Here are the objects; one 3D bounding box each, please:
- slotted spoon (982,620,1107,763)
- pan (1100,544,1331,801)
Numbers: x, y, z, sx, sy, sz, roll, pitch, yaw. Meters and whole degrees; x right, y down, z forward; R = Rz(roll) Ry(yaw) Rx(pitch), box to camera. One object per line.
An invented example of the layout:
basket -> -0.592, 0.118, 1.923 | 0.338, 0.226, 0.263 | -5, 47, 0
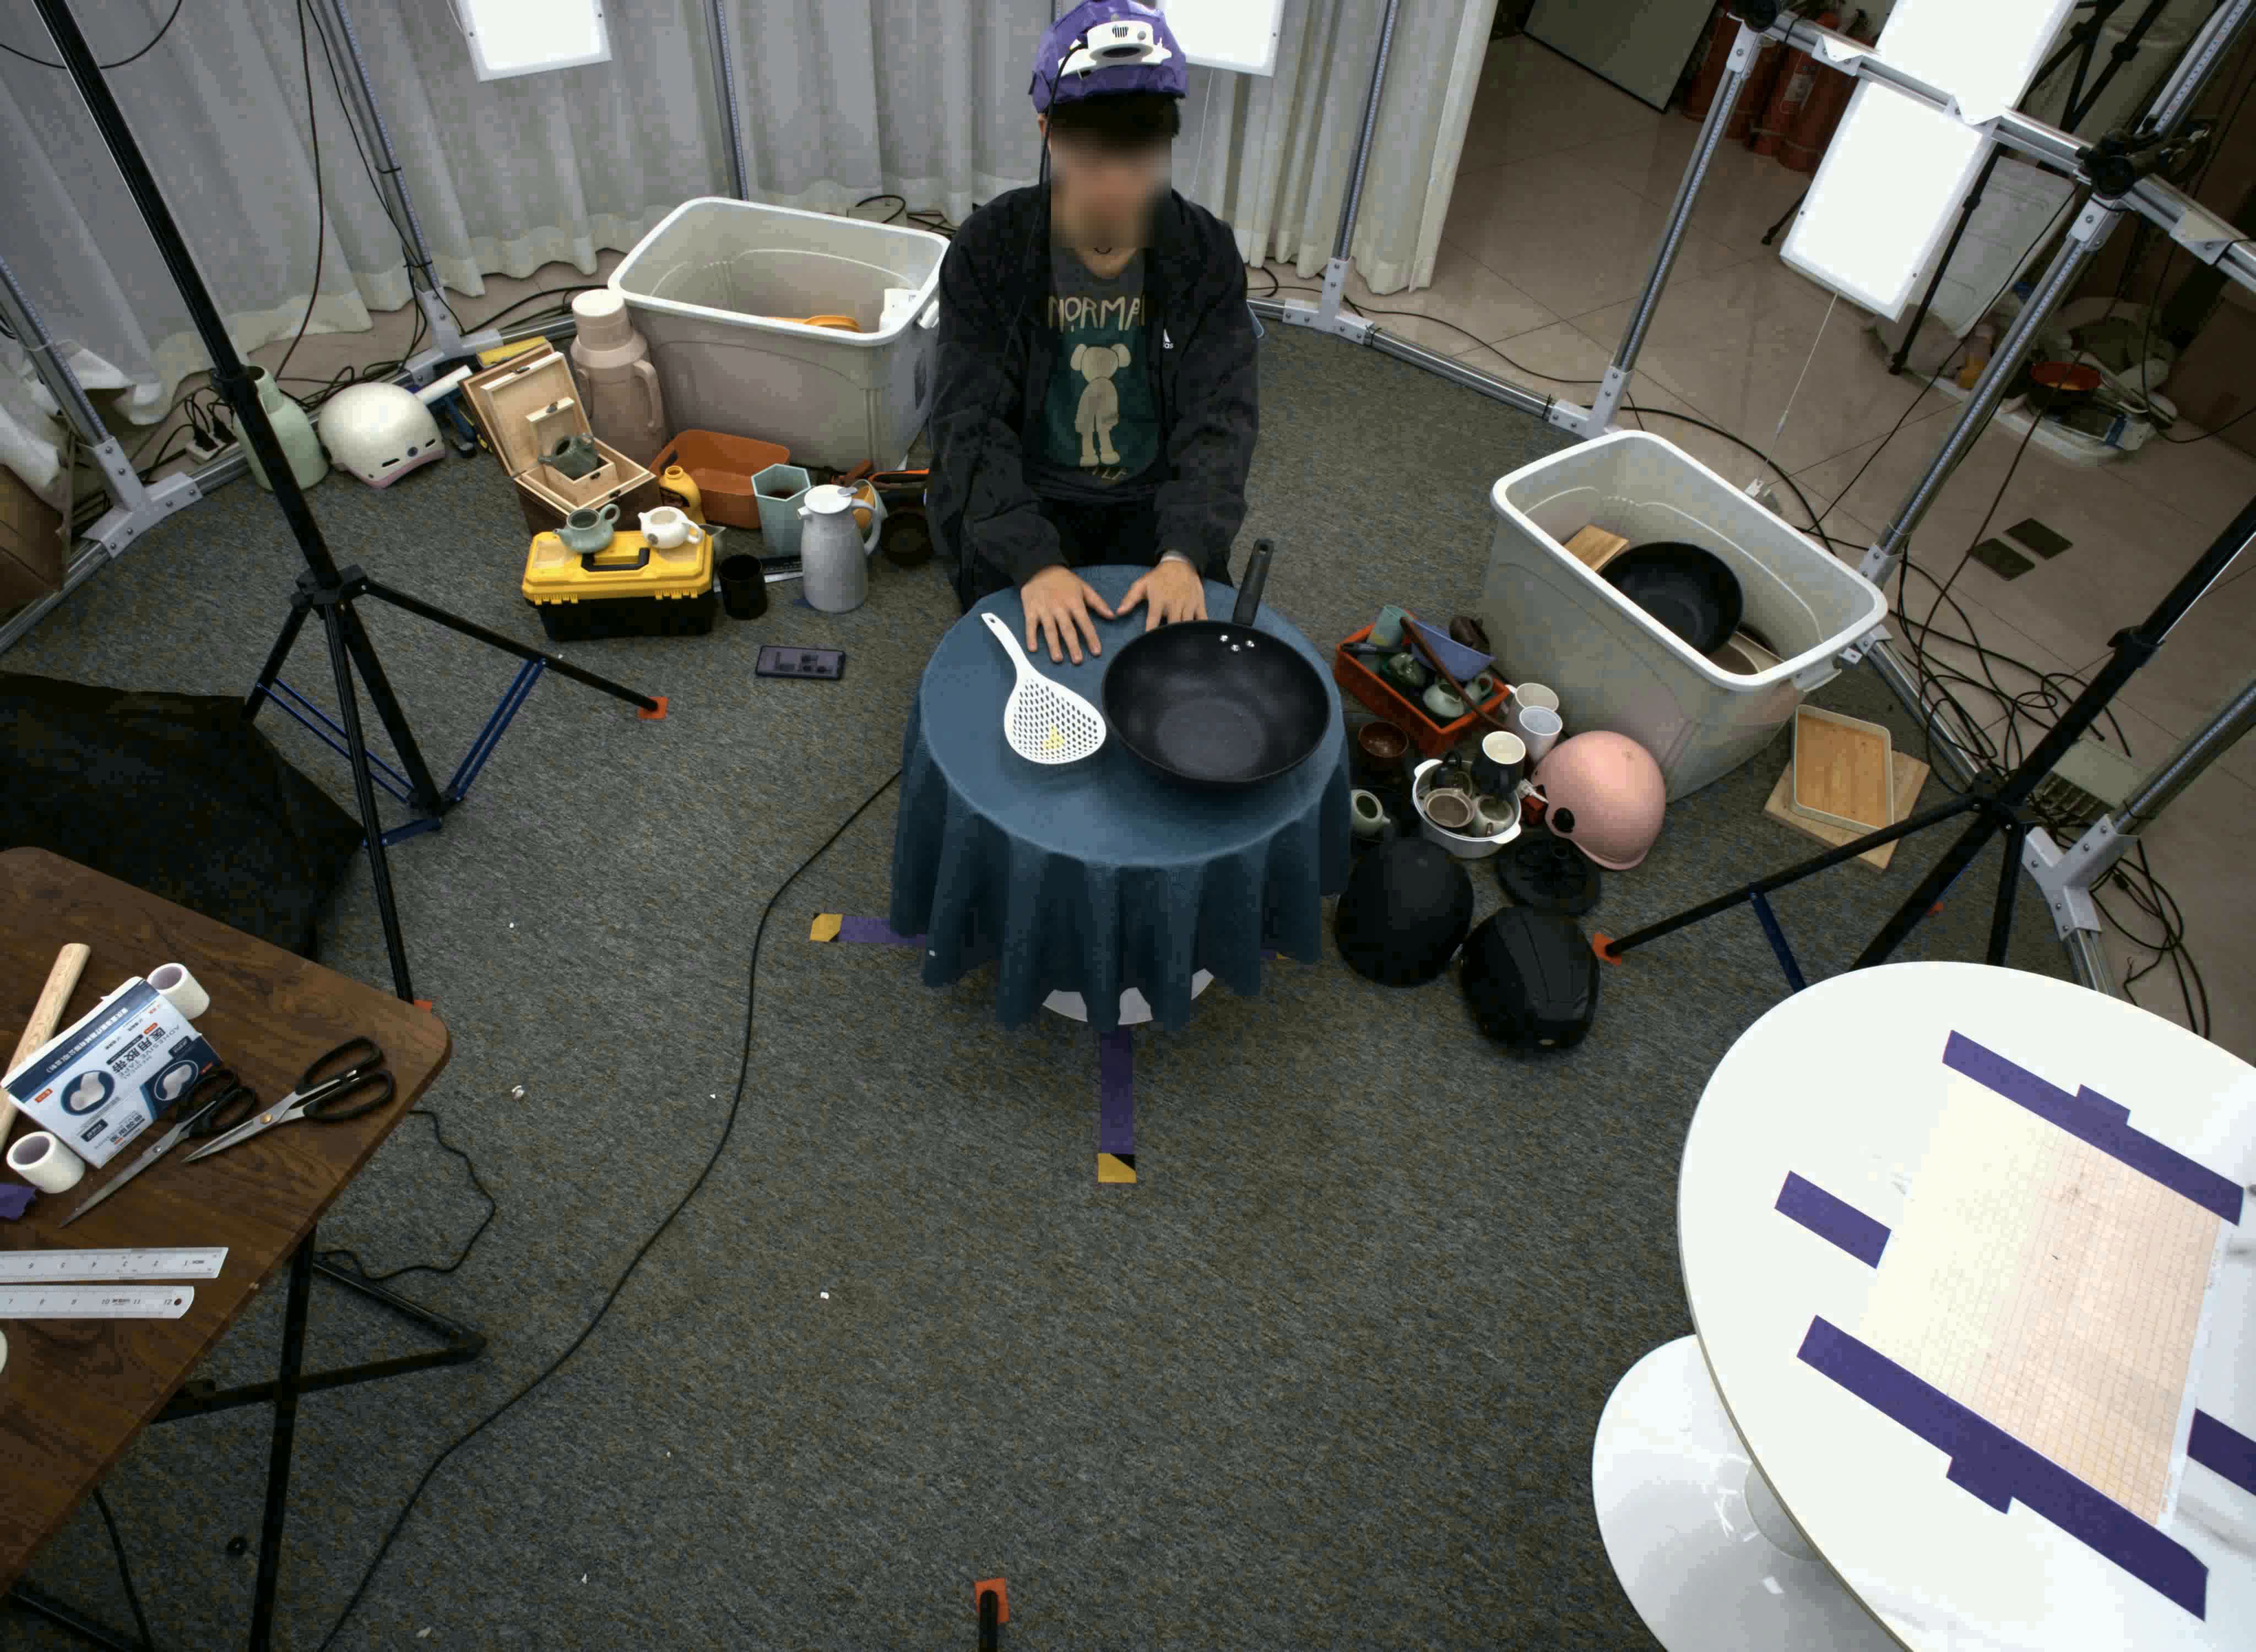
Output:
slotted spoon -> -0.139, -0.200, 1.806 | 0.137, 0.049, 0.356 | -16, 51, -15
pan -> 0.138, -0.209, 1.789 | 0.311, 0.109, 0.487 | 14, 49, 7
